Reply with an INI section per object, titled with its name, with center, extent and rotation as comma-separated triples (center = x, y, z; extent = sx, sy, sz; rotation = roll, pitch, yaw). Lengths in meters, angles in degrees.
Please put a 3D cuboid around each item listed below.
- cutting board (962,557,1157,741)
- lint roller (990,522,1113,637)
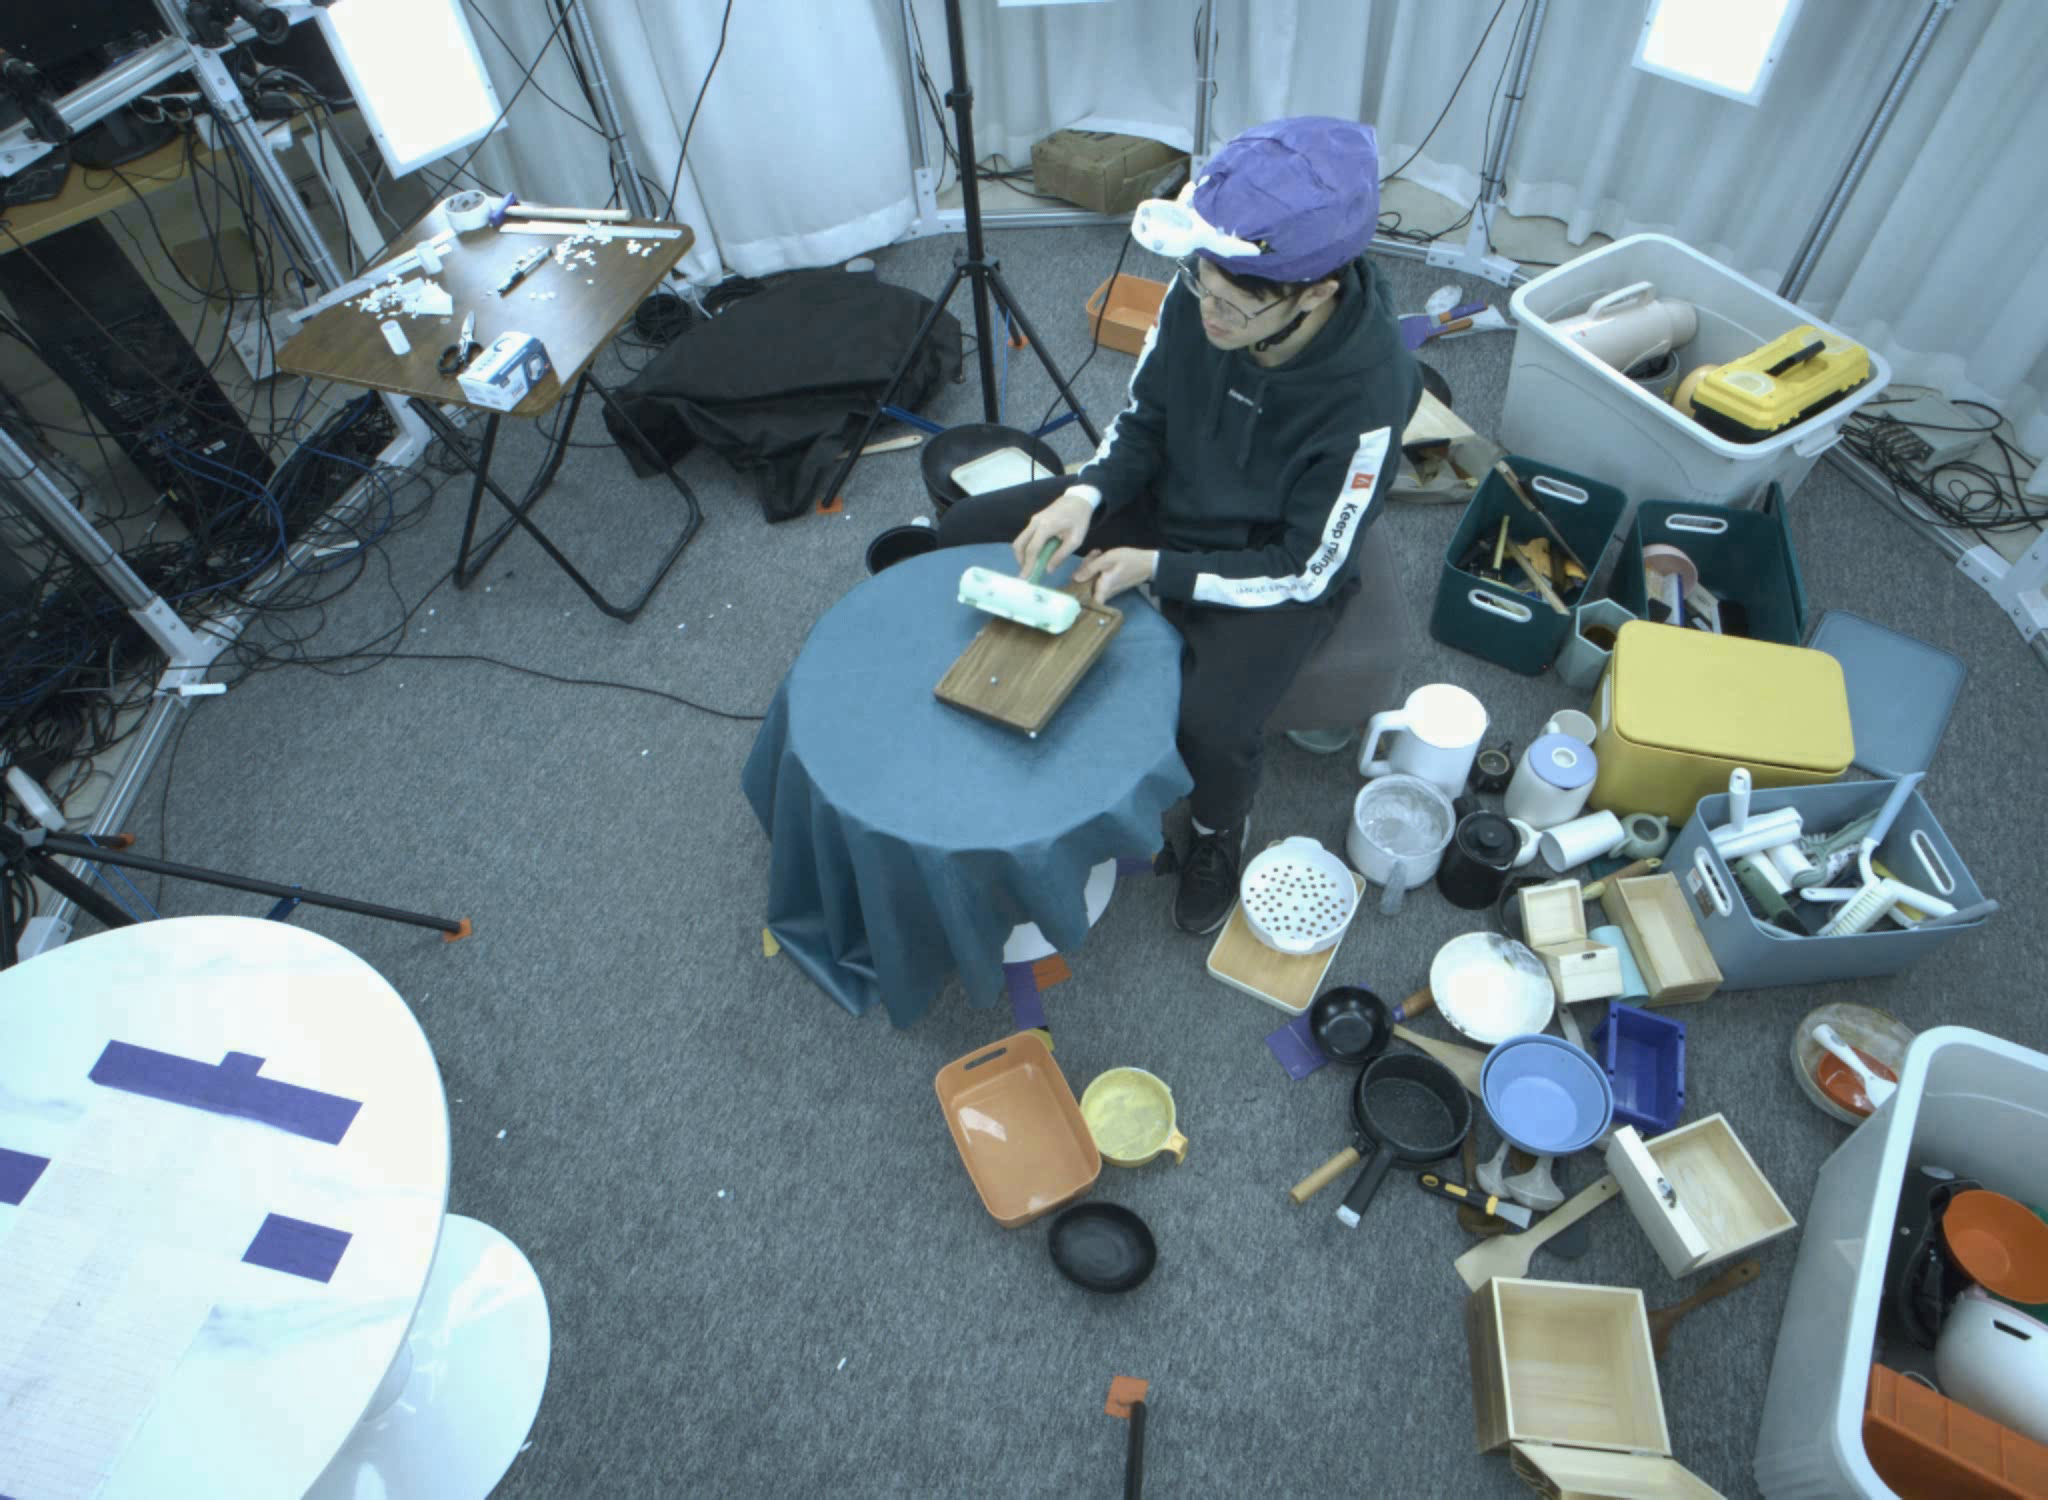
[cutting board]
center = 0.081, -0.170, 1.851
extent = 0.197, 0.023, 0.353
rotation = 23, 62, 32
[lint roller]
center = 0.060, -0.278, 1.859
extent = 0.194, 0.084, 0.183
rotation = 24, 85, 29
